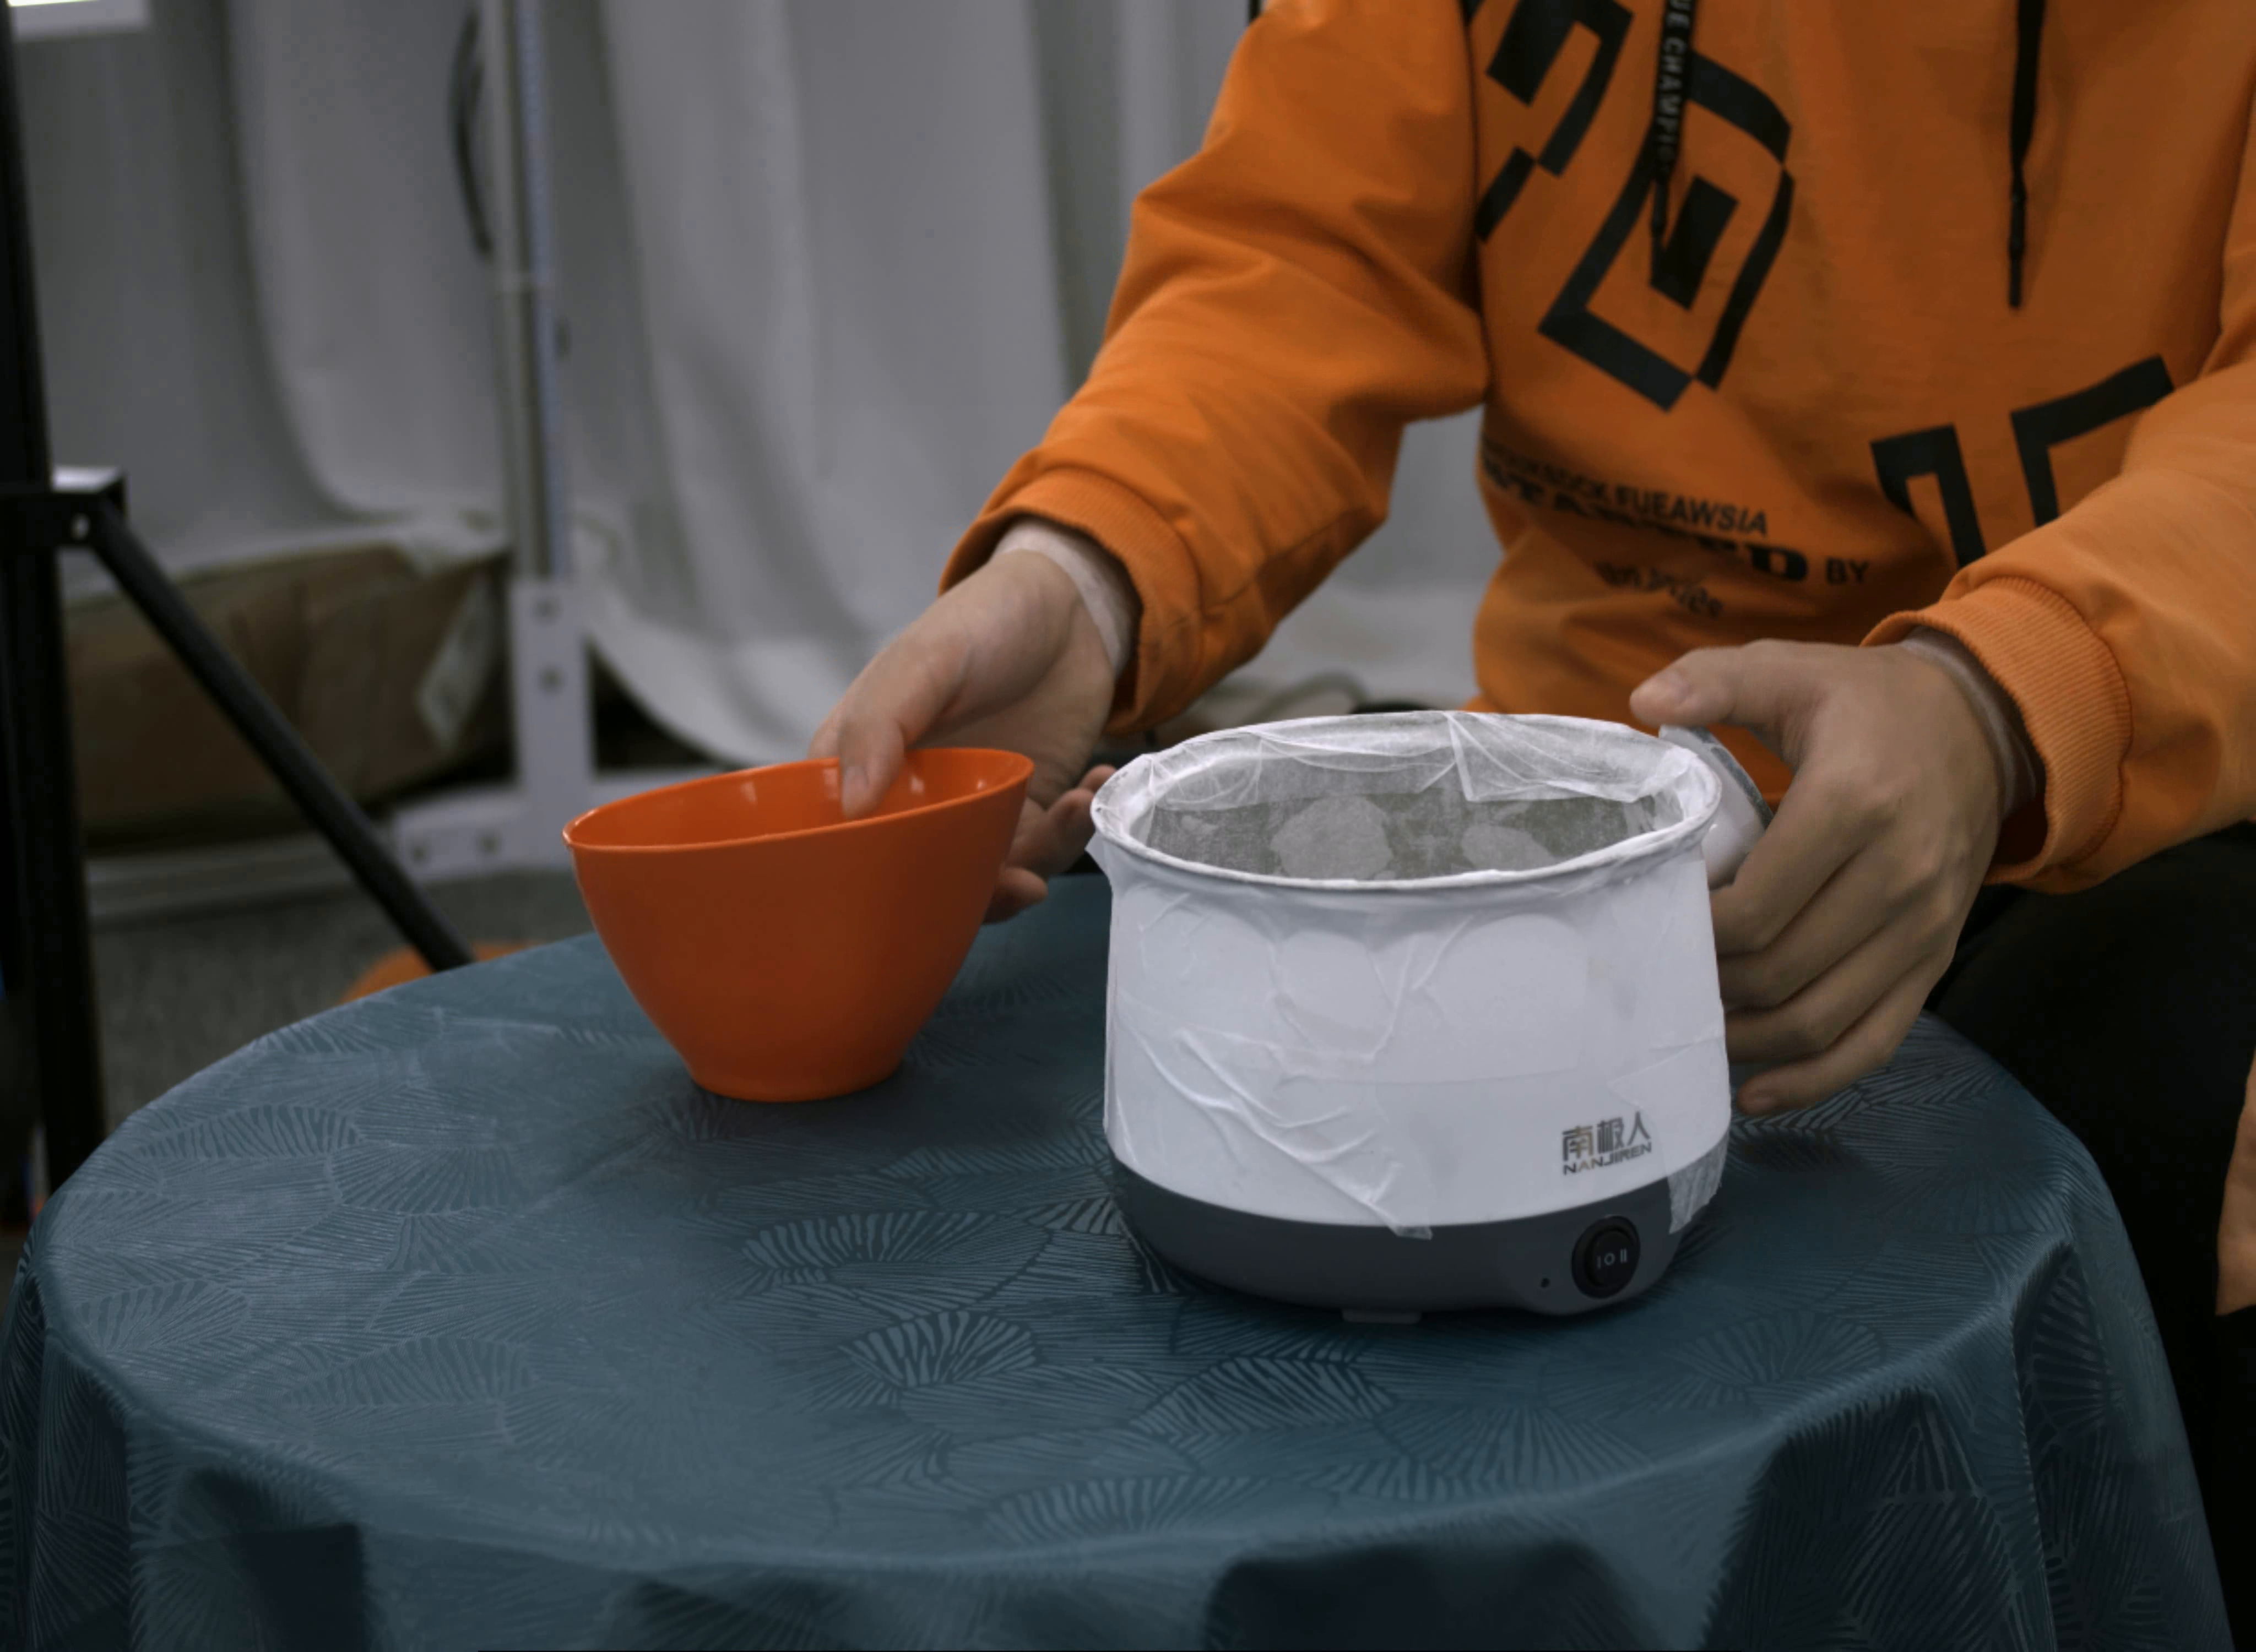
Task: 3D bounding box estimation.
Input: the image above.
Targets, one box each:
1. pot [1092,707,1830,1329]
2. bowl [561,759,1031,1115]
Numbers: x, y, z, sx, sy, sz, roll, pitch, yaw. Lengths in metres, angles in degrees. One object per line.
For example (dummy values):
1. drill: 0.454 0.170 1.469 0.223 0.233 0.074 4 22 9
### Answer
1. pot: 0.103 0.047 1.505 0.228 0.136 0.183 -13 19 -32
2. bowl: -0.101 0.033 1.661 0.147 0.104 0.149 -3 16 -1
